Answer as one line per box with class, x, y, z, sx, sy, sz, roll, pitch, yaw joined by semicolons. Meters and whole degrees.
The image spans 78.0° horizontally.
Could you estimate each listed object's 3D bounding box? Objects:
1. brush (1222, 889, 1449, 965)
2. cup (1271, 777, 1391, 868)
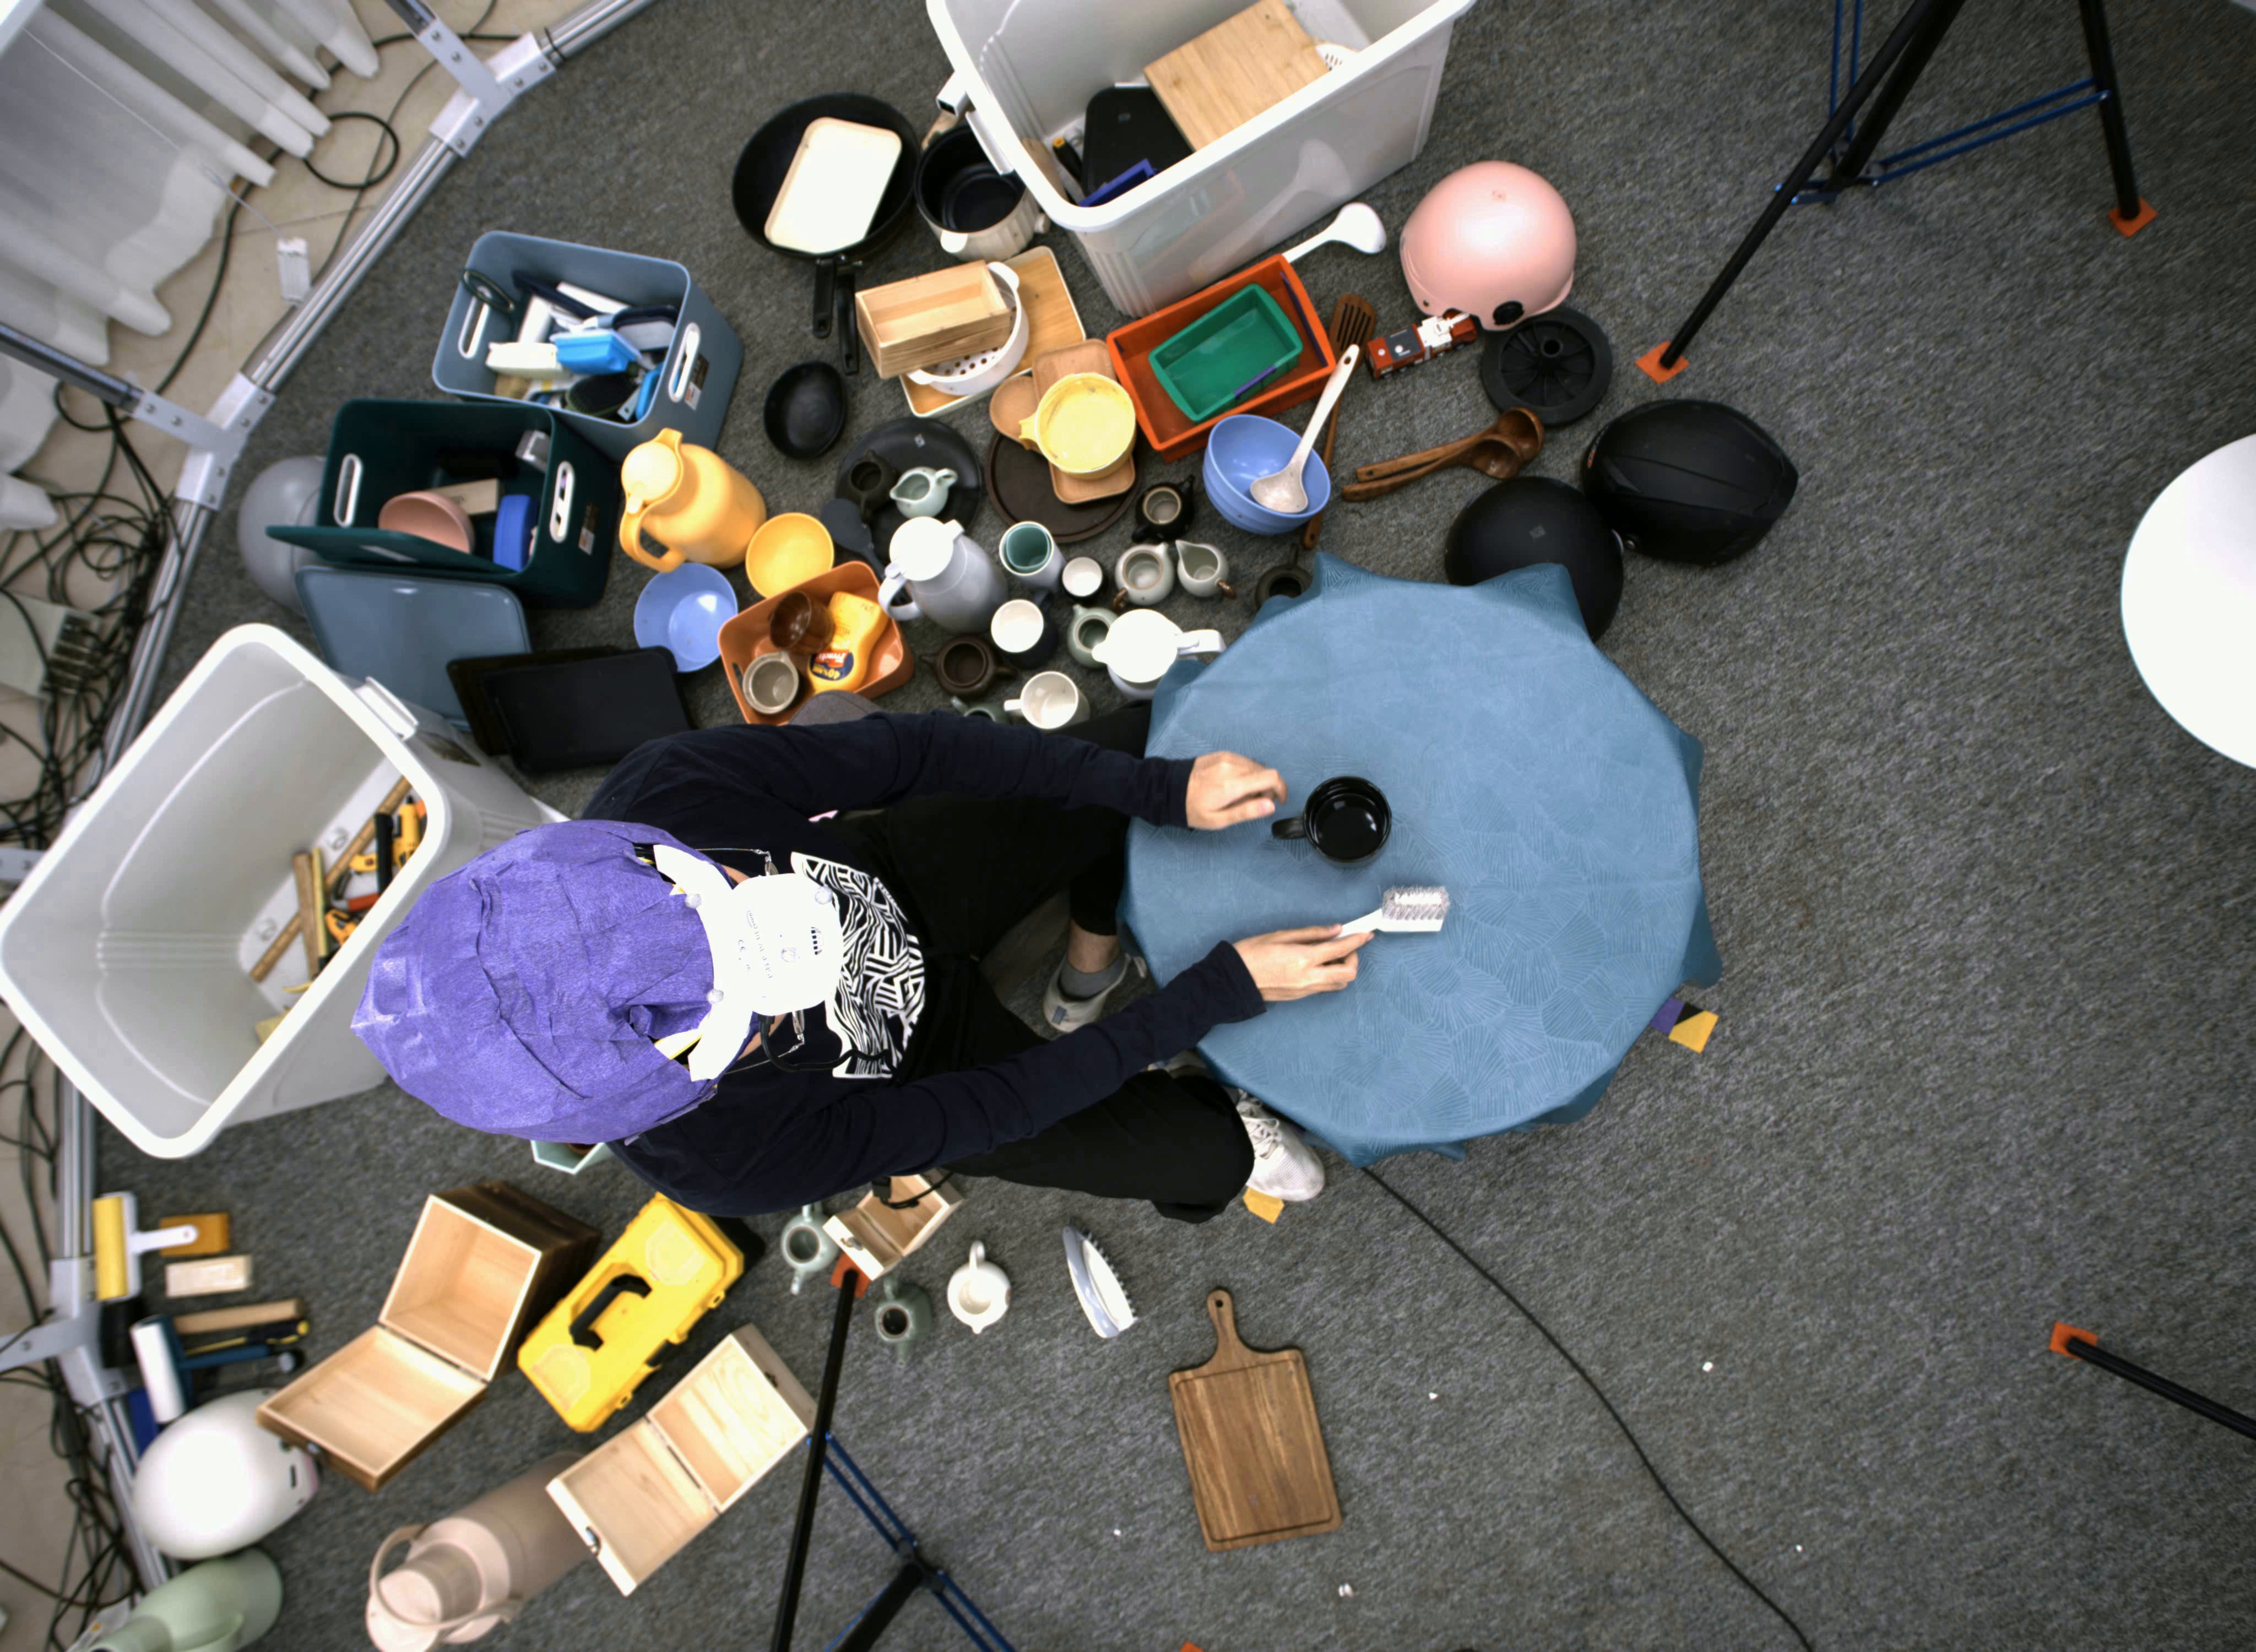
brush;0.213;0.103;1.442;0.245;0.051;0.033;-12;47;12
cup;0.208;-0.002;1.421;0.124;0.105;0.088;-3;87;12
